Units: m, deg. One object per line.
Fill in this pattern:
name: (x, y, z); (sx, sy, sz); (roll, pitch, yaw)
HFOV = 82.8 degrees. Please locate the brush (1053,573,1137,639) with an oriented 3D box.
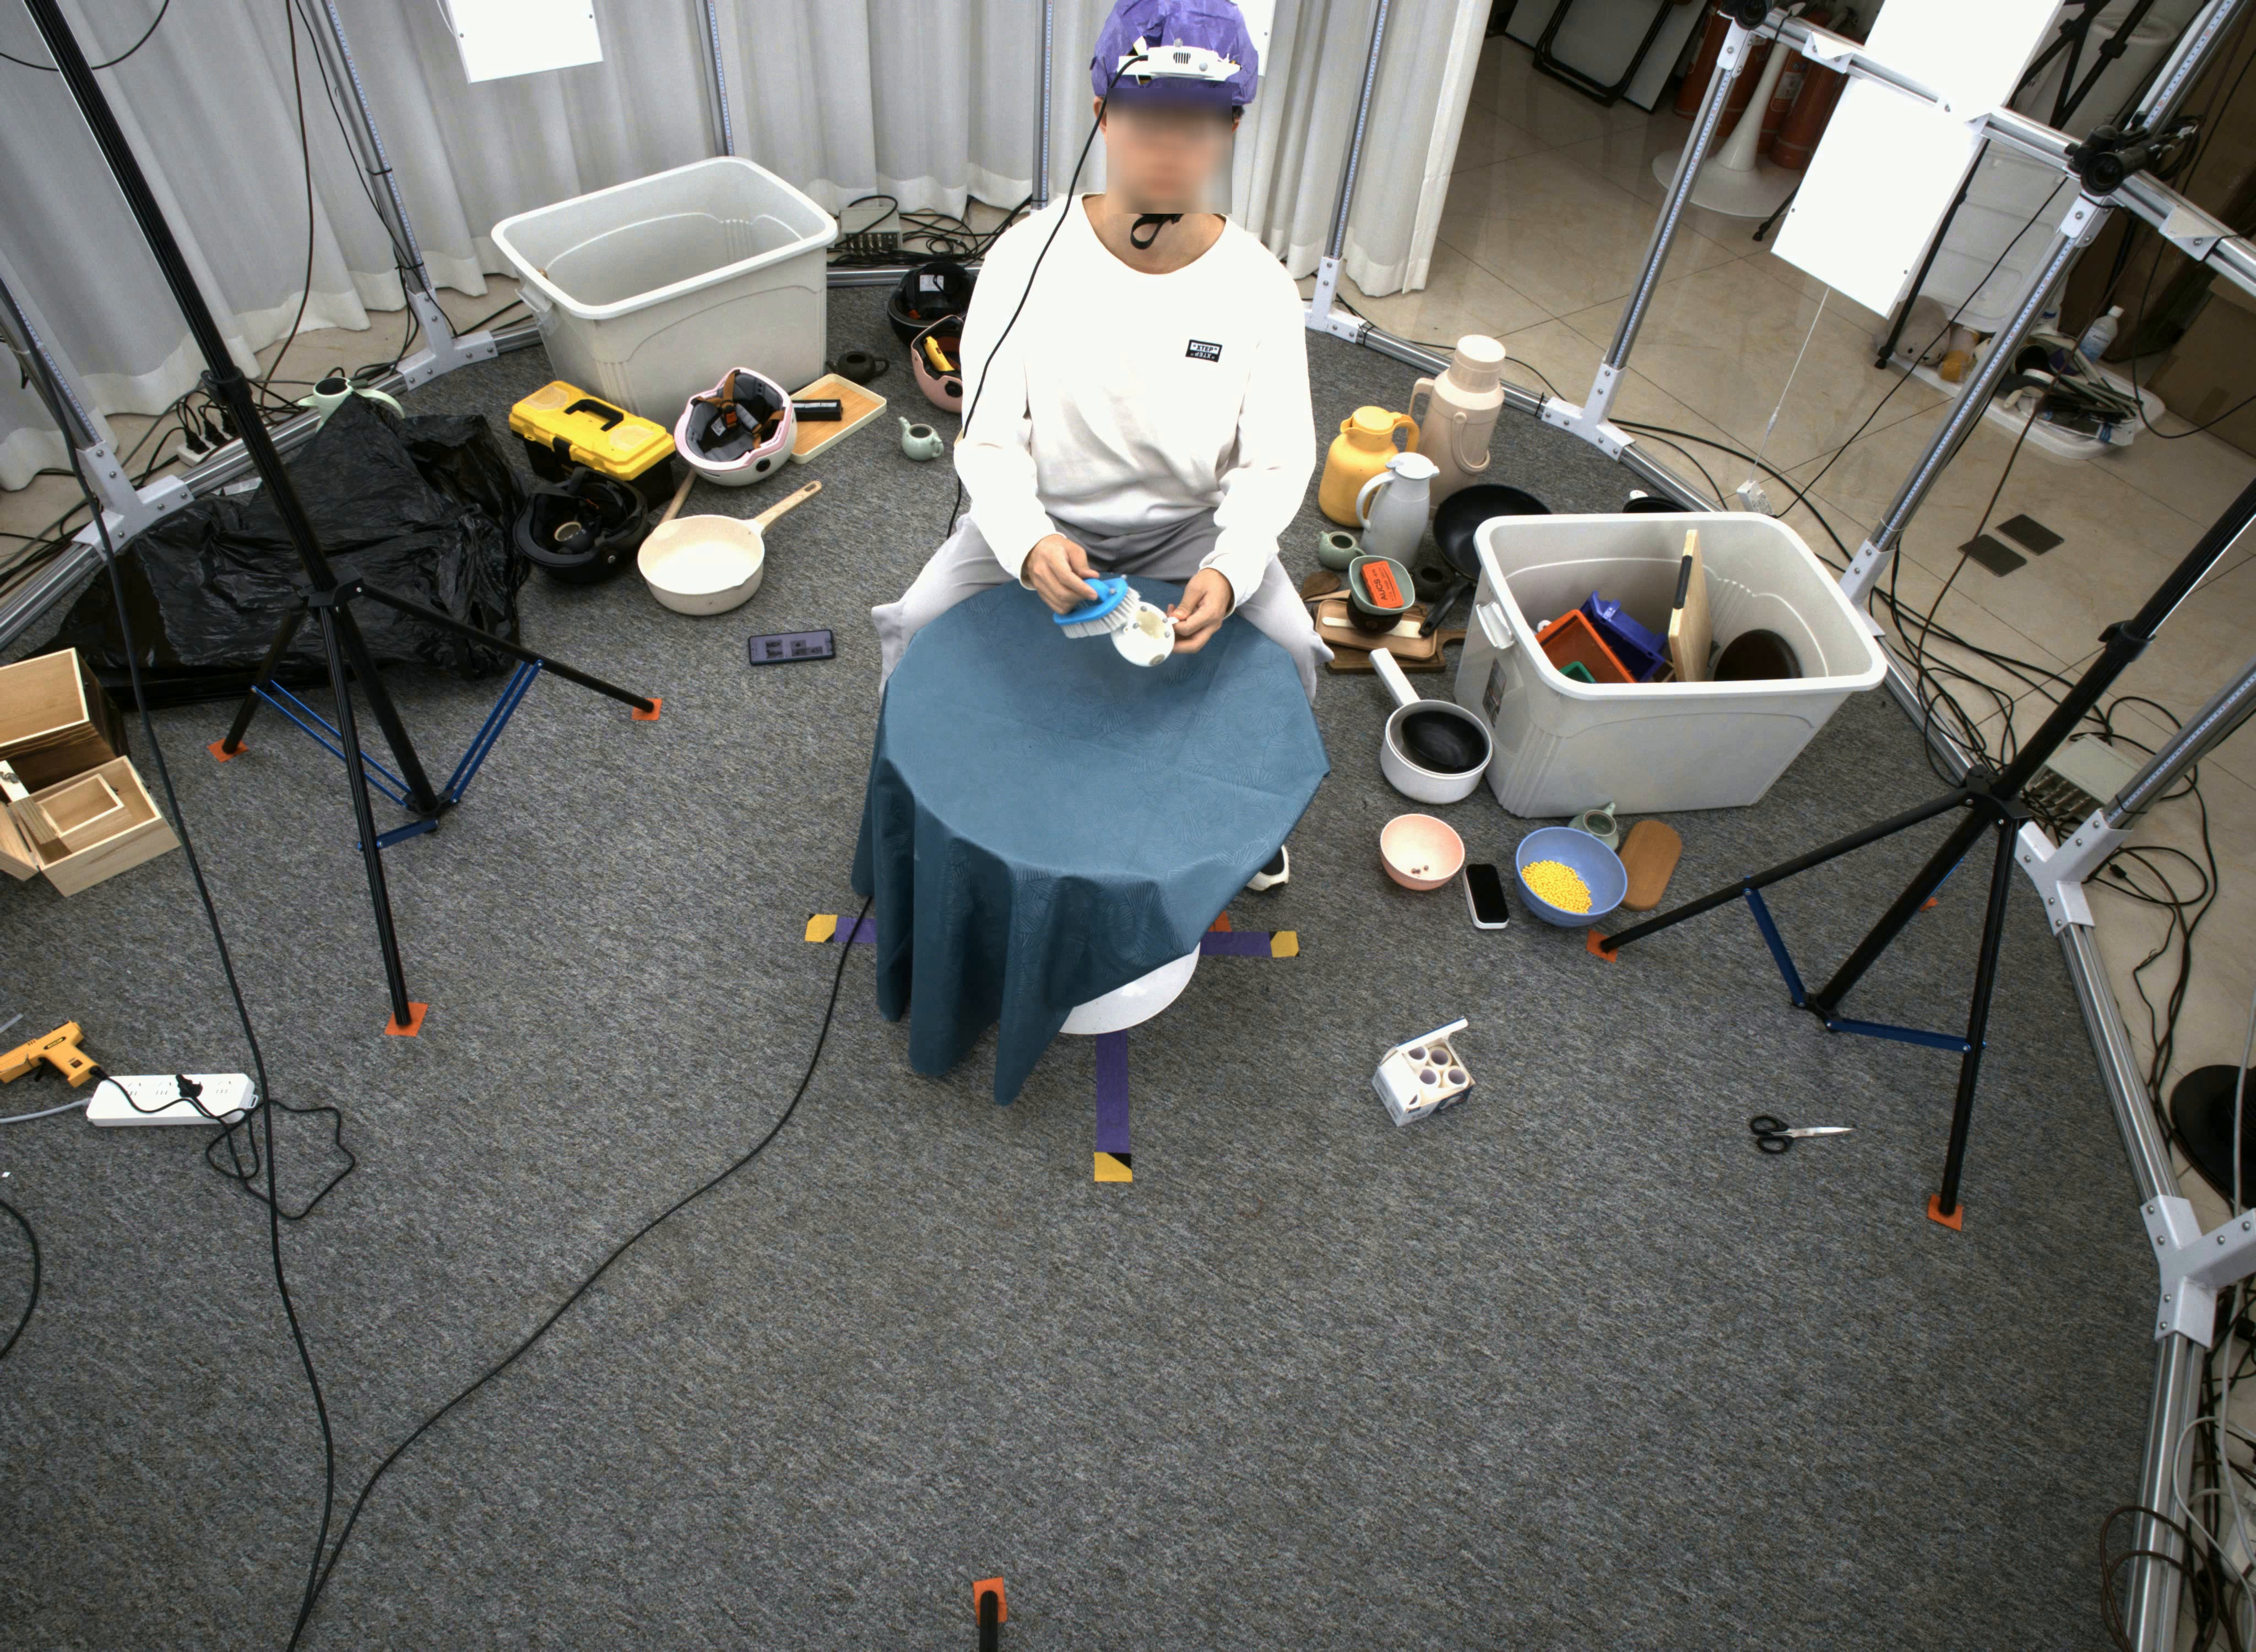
brush: (-0.057, -0.305, 1.732); (0.142, 0.062, 0.085); (2, 57, 53)

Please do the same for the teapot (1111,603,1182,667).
teapot: (0.029, -0.266, 1.774); (0.128, 0.056, 0.094); (-25, 74, -45)
